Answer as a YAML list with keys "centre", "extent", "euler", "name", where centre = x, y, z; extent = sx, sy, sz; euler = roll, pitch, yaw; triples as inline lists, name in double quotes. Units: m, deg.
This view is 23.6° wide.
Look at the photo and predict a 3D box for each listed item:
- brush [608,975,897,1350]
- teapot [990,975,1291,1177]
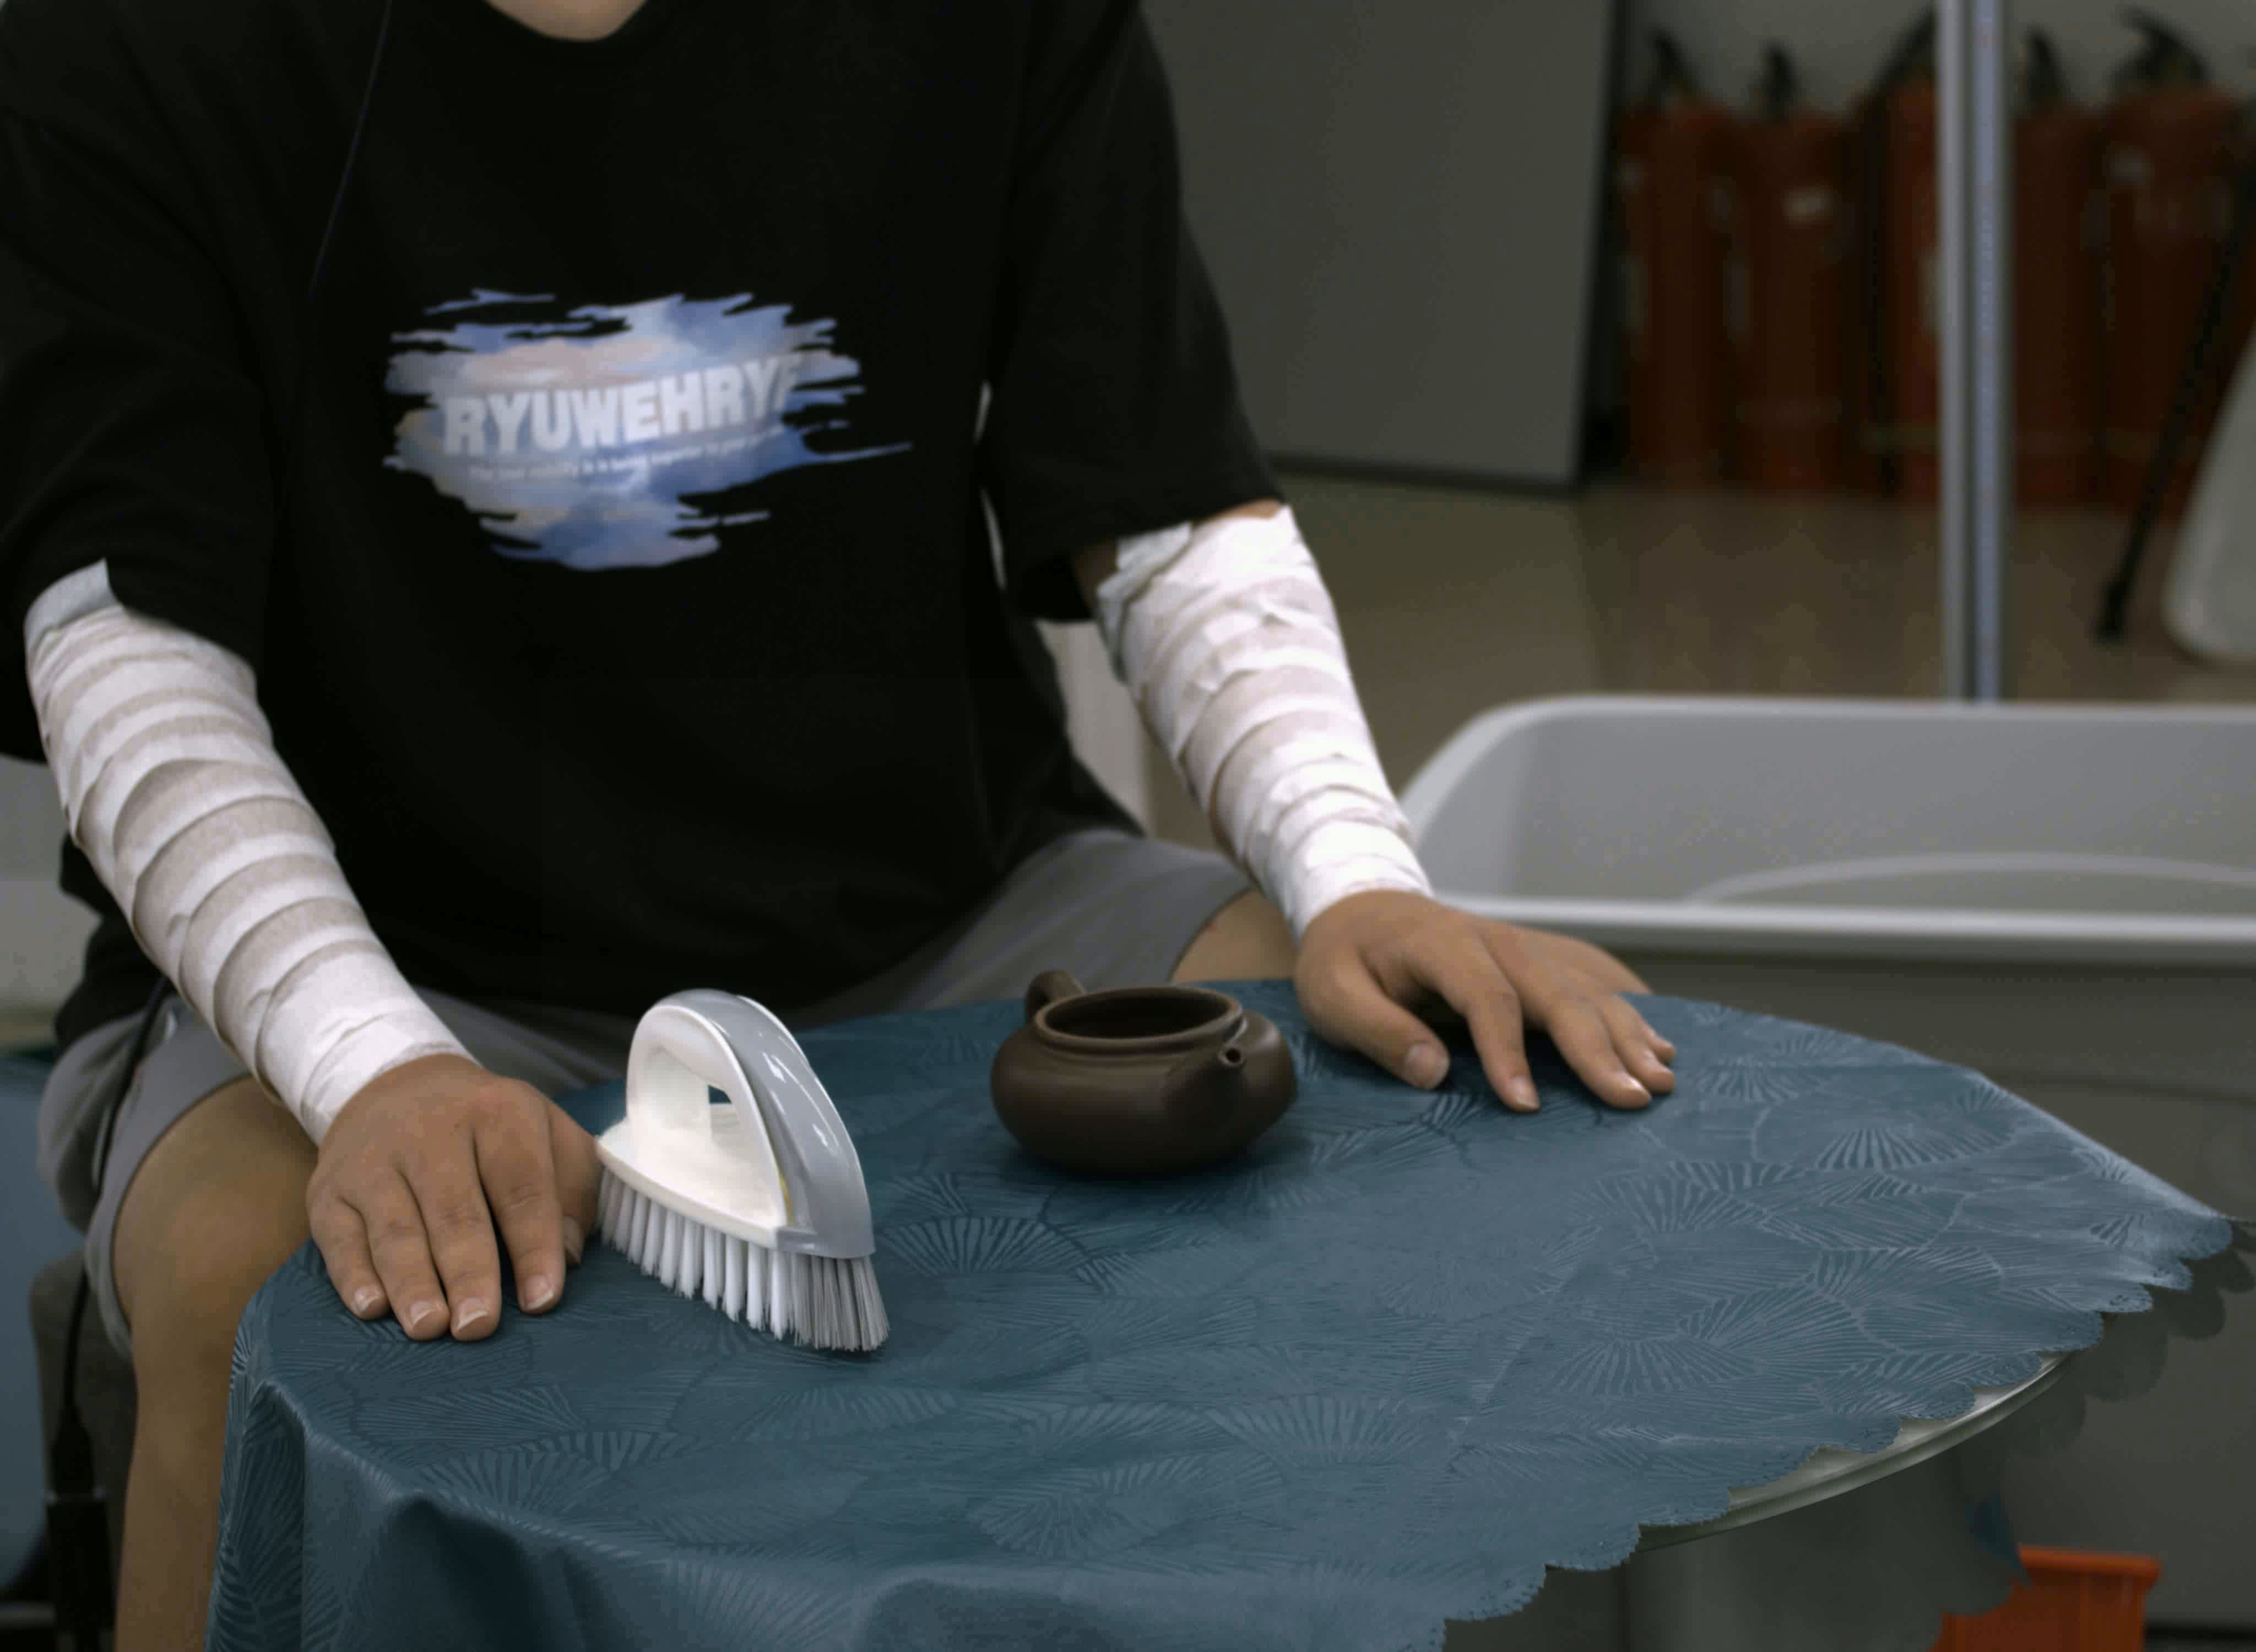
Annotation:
- centre: [-0.114, 0.101, 1.696]
  extent: [0.060, 0.095, 0.177]
  euler: [-13, 17, -22]
  name: "brush"
- centre: [0.002, 0.083, 1.814]
  extent: [0.100, 0.054, 0.155]
  euler: [-10, 14, -30]
  name: "teapot"
